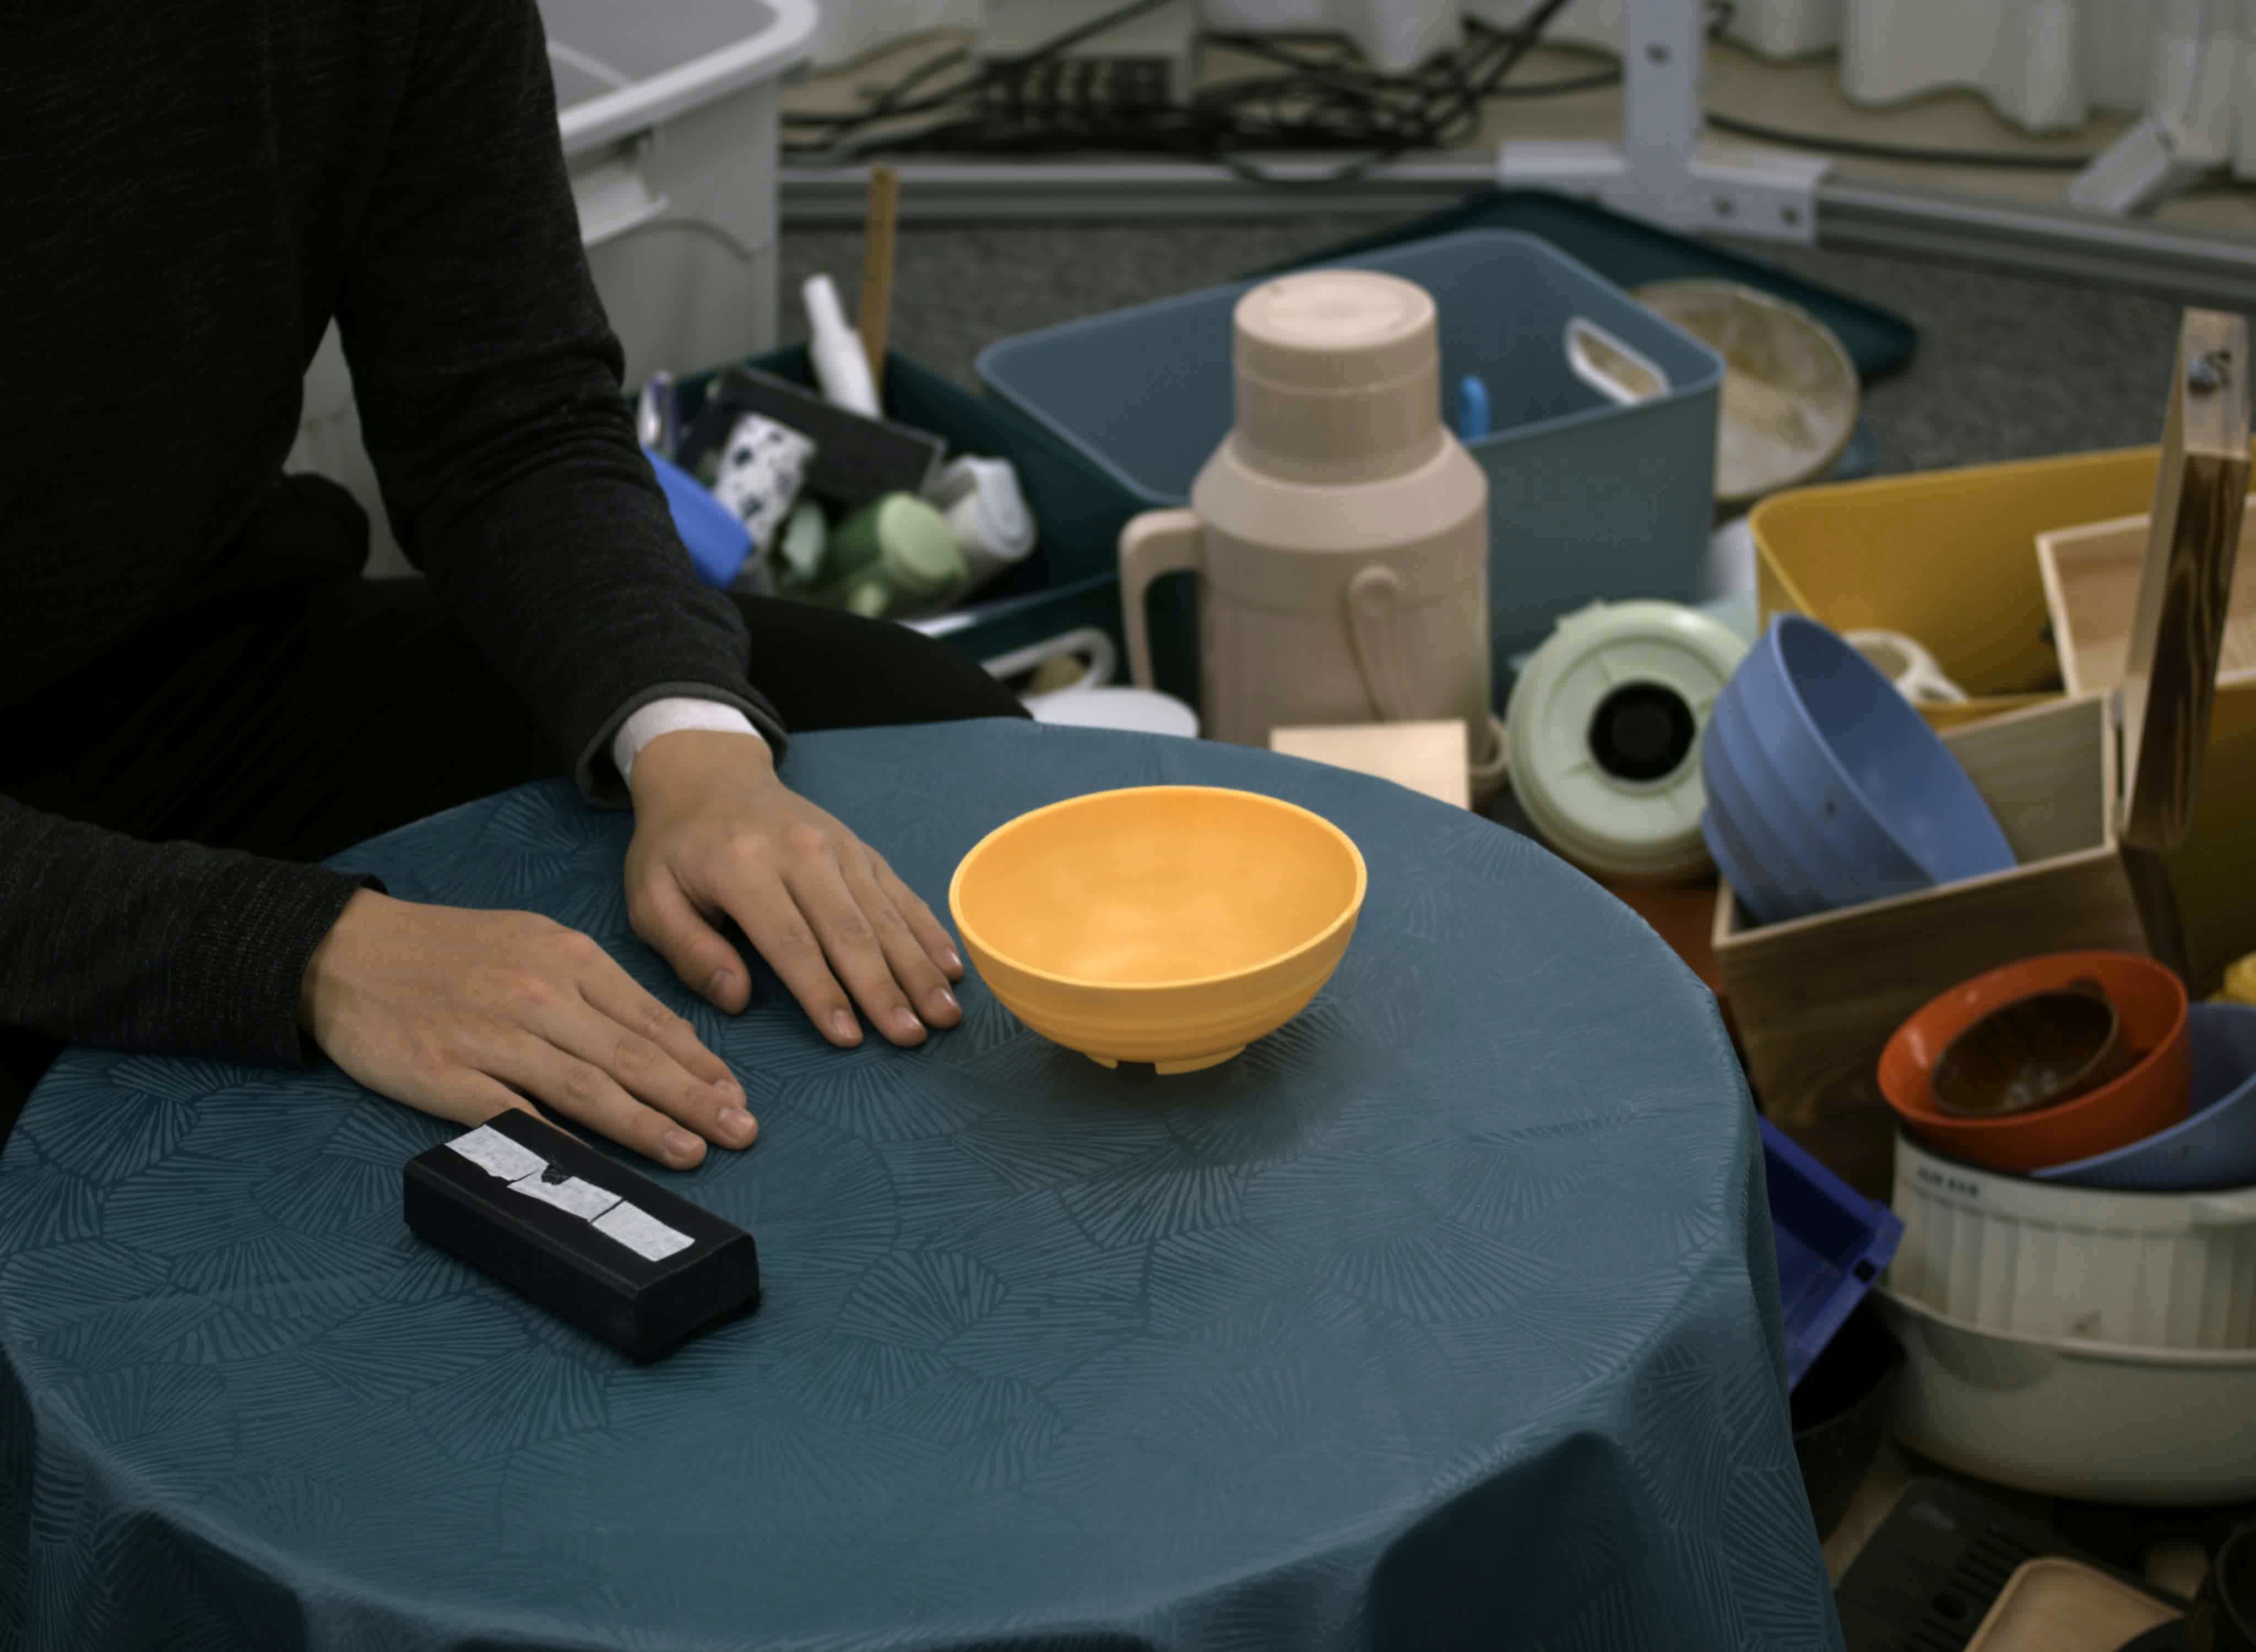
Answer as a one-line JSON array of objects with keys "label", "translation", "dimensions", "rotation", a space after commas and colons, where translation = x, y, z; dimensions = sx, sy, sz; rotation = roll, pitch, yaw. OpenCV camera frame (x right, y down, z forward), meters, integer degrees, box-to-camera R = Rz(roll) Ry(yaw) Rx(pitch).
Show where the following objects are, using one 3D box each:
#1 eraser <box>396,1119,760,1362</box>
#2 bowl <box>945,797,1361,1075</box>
[{"label": "eraser", "translation": [-0.179, 0.134, 1.824], "dimensions": [0.125, 0.030, 0.054], "rotation": [22, 33, 40]}, {"label": "bowl", "translation": [0.009, 0.046, 1.943], "dimensions": [0.144, 0.059, 0.147], "rotation": [-1, 25, 1]}]
